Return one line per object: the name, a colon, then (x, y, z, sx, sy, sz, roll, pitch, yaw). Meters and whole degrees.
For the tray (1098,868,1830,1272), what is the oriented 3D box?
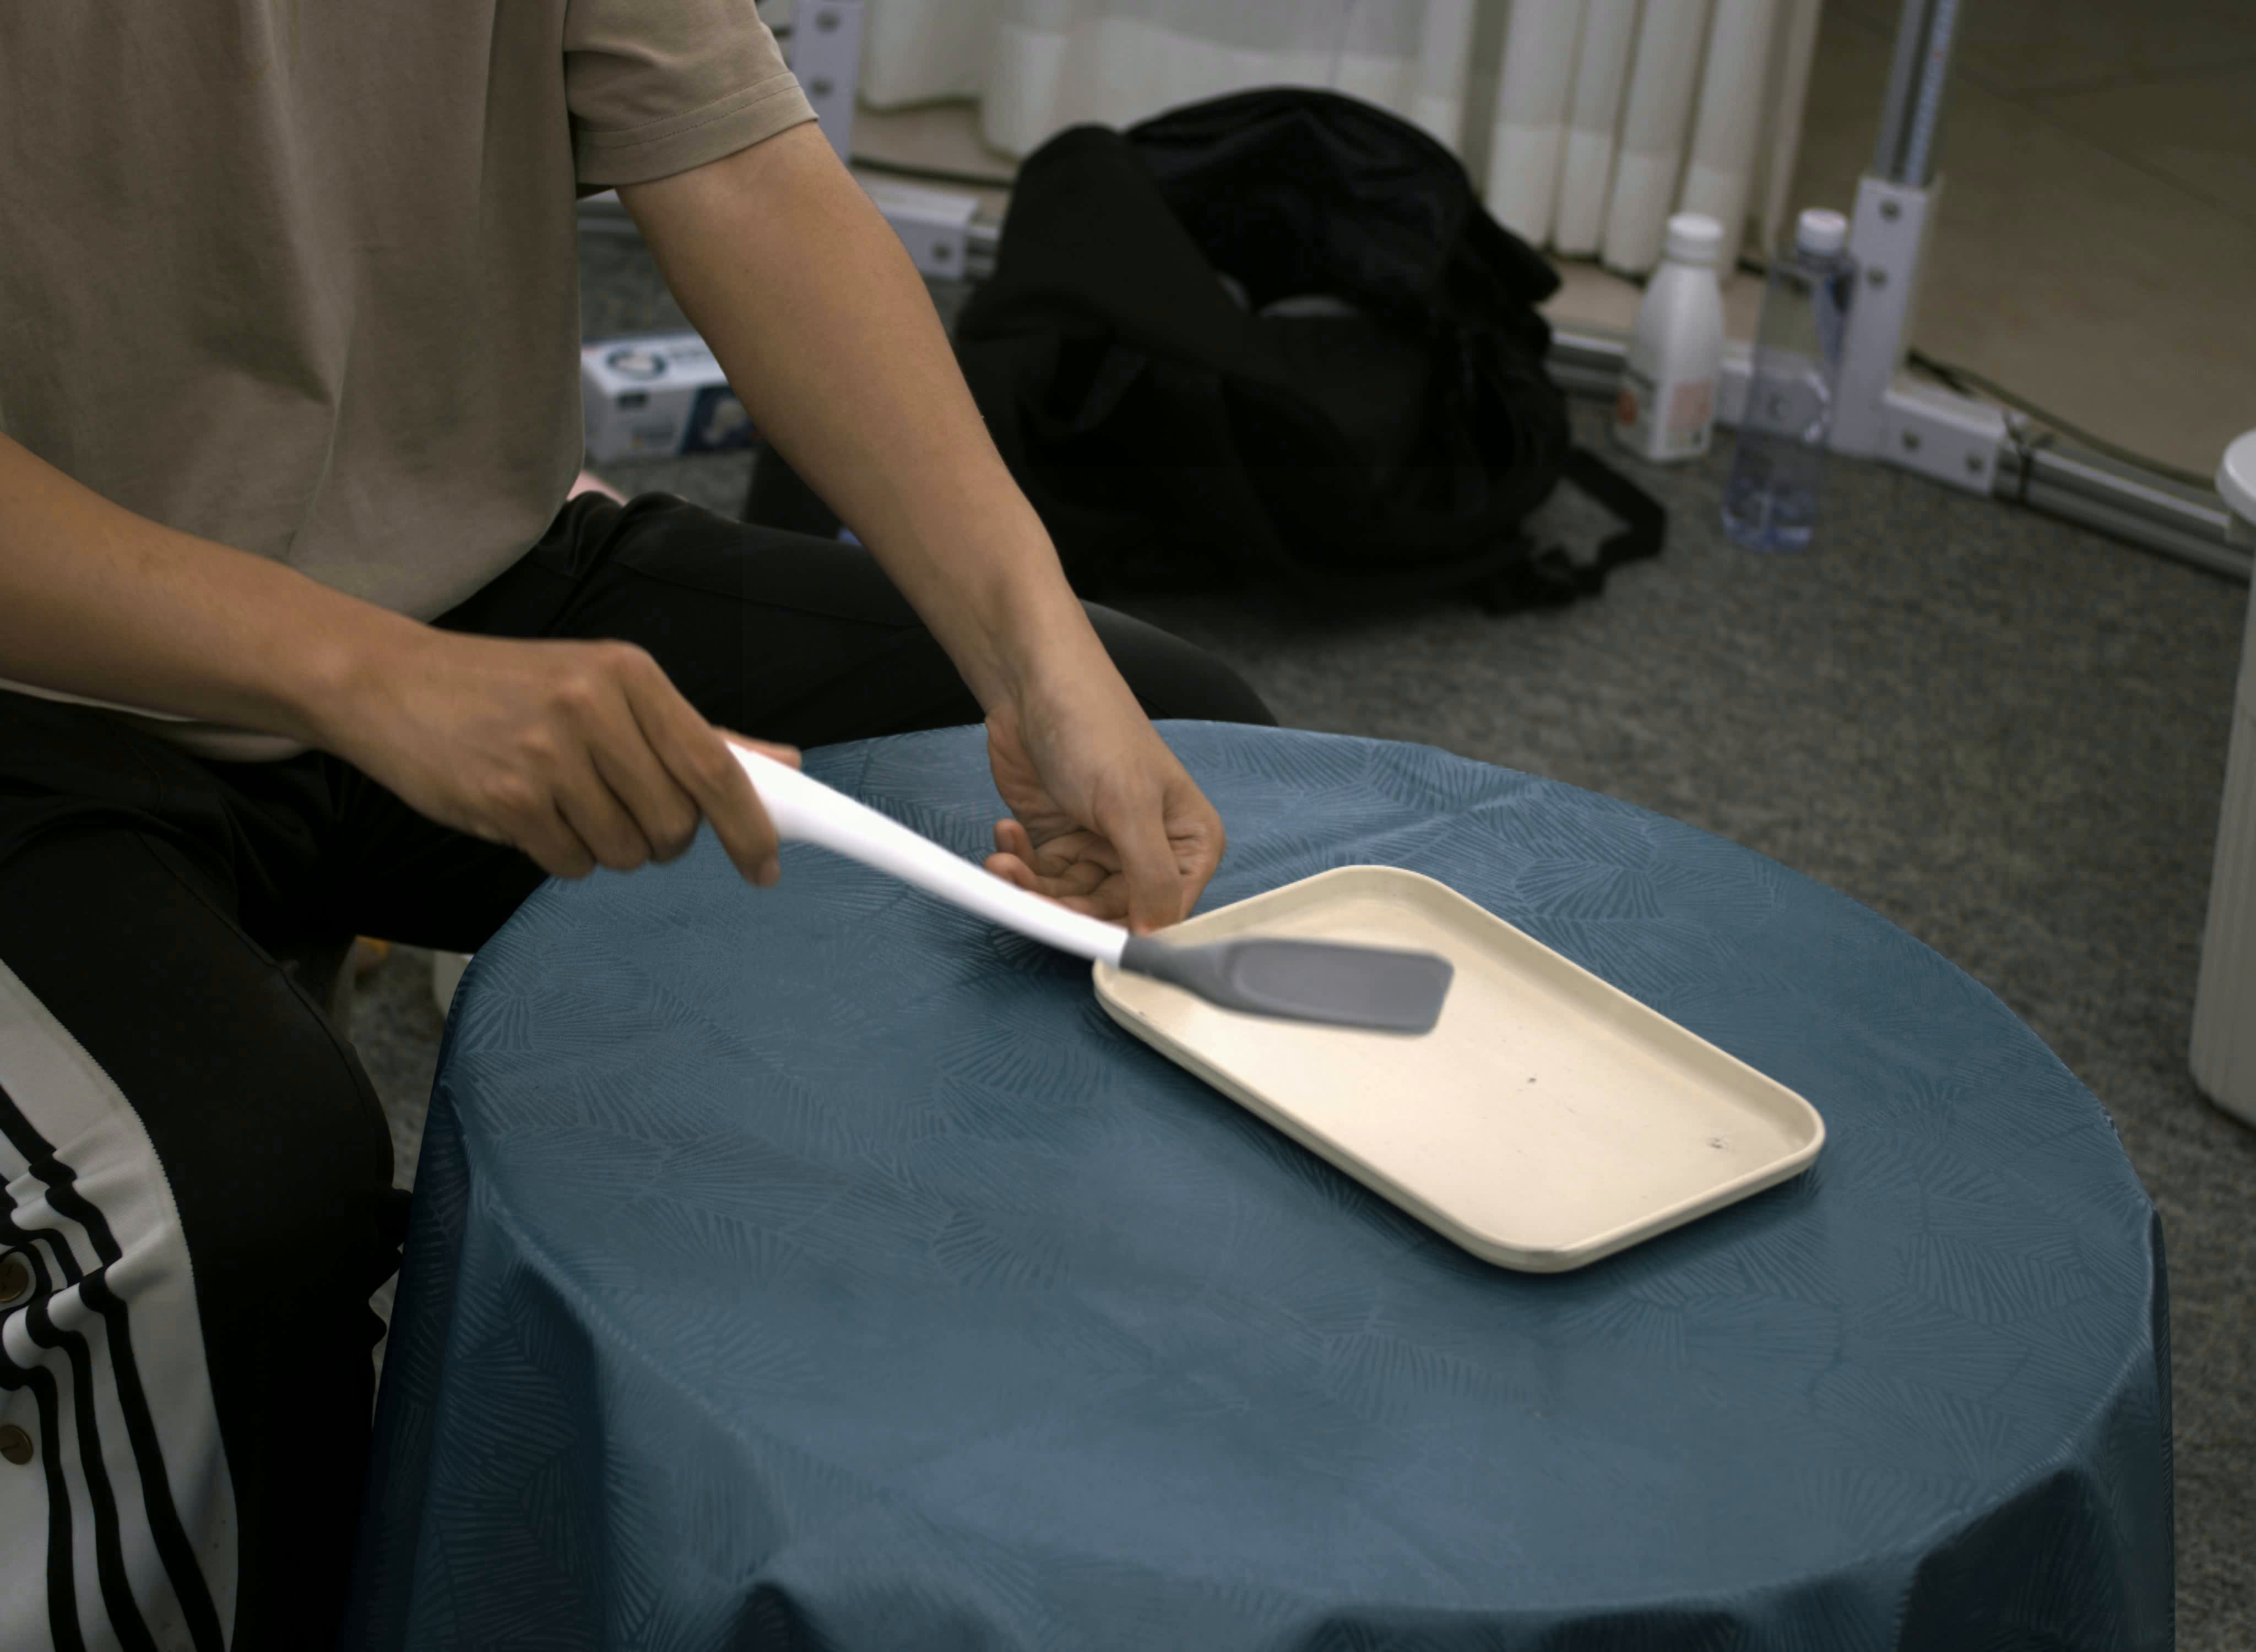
tray: (0.117, 0.085, 1.888, 0.170, 0.017, 0.241, -17, 36, -40)

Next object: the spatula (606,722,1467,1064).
spatula: (-0.031, 0.025, 1.728, 0.287, 0.032, 0.059, 18, 27, 6)
